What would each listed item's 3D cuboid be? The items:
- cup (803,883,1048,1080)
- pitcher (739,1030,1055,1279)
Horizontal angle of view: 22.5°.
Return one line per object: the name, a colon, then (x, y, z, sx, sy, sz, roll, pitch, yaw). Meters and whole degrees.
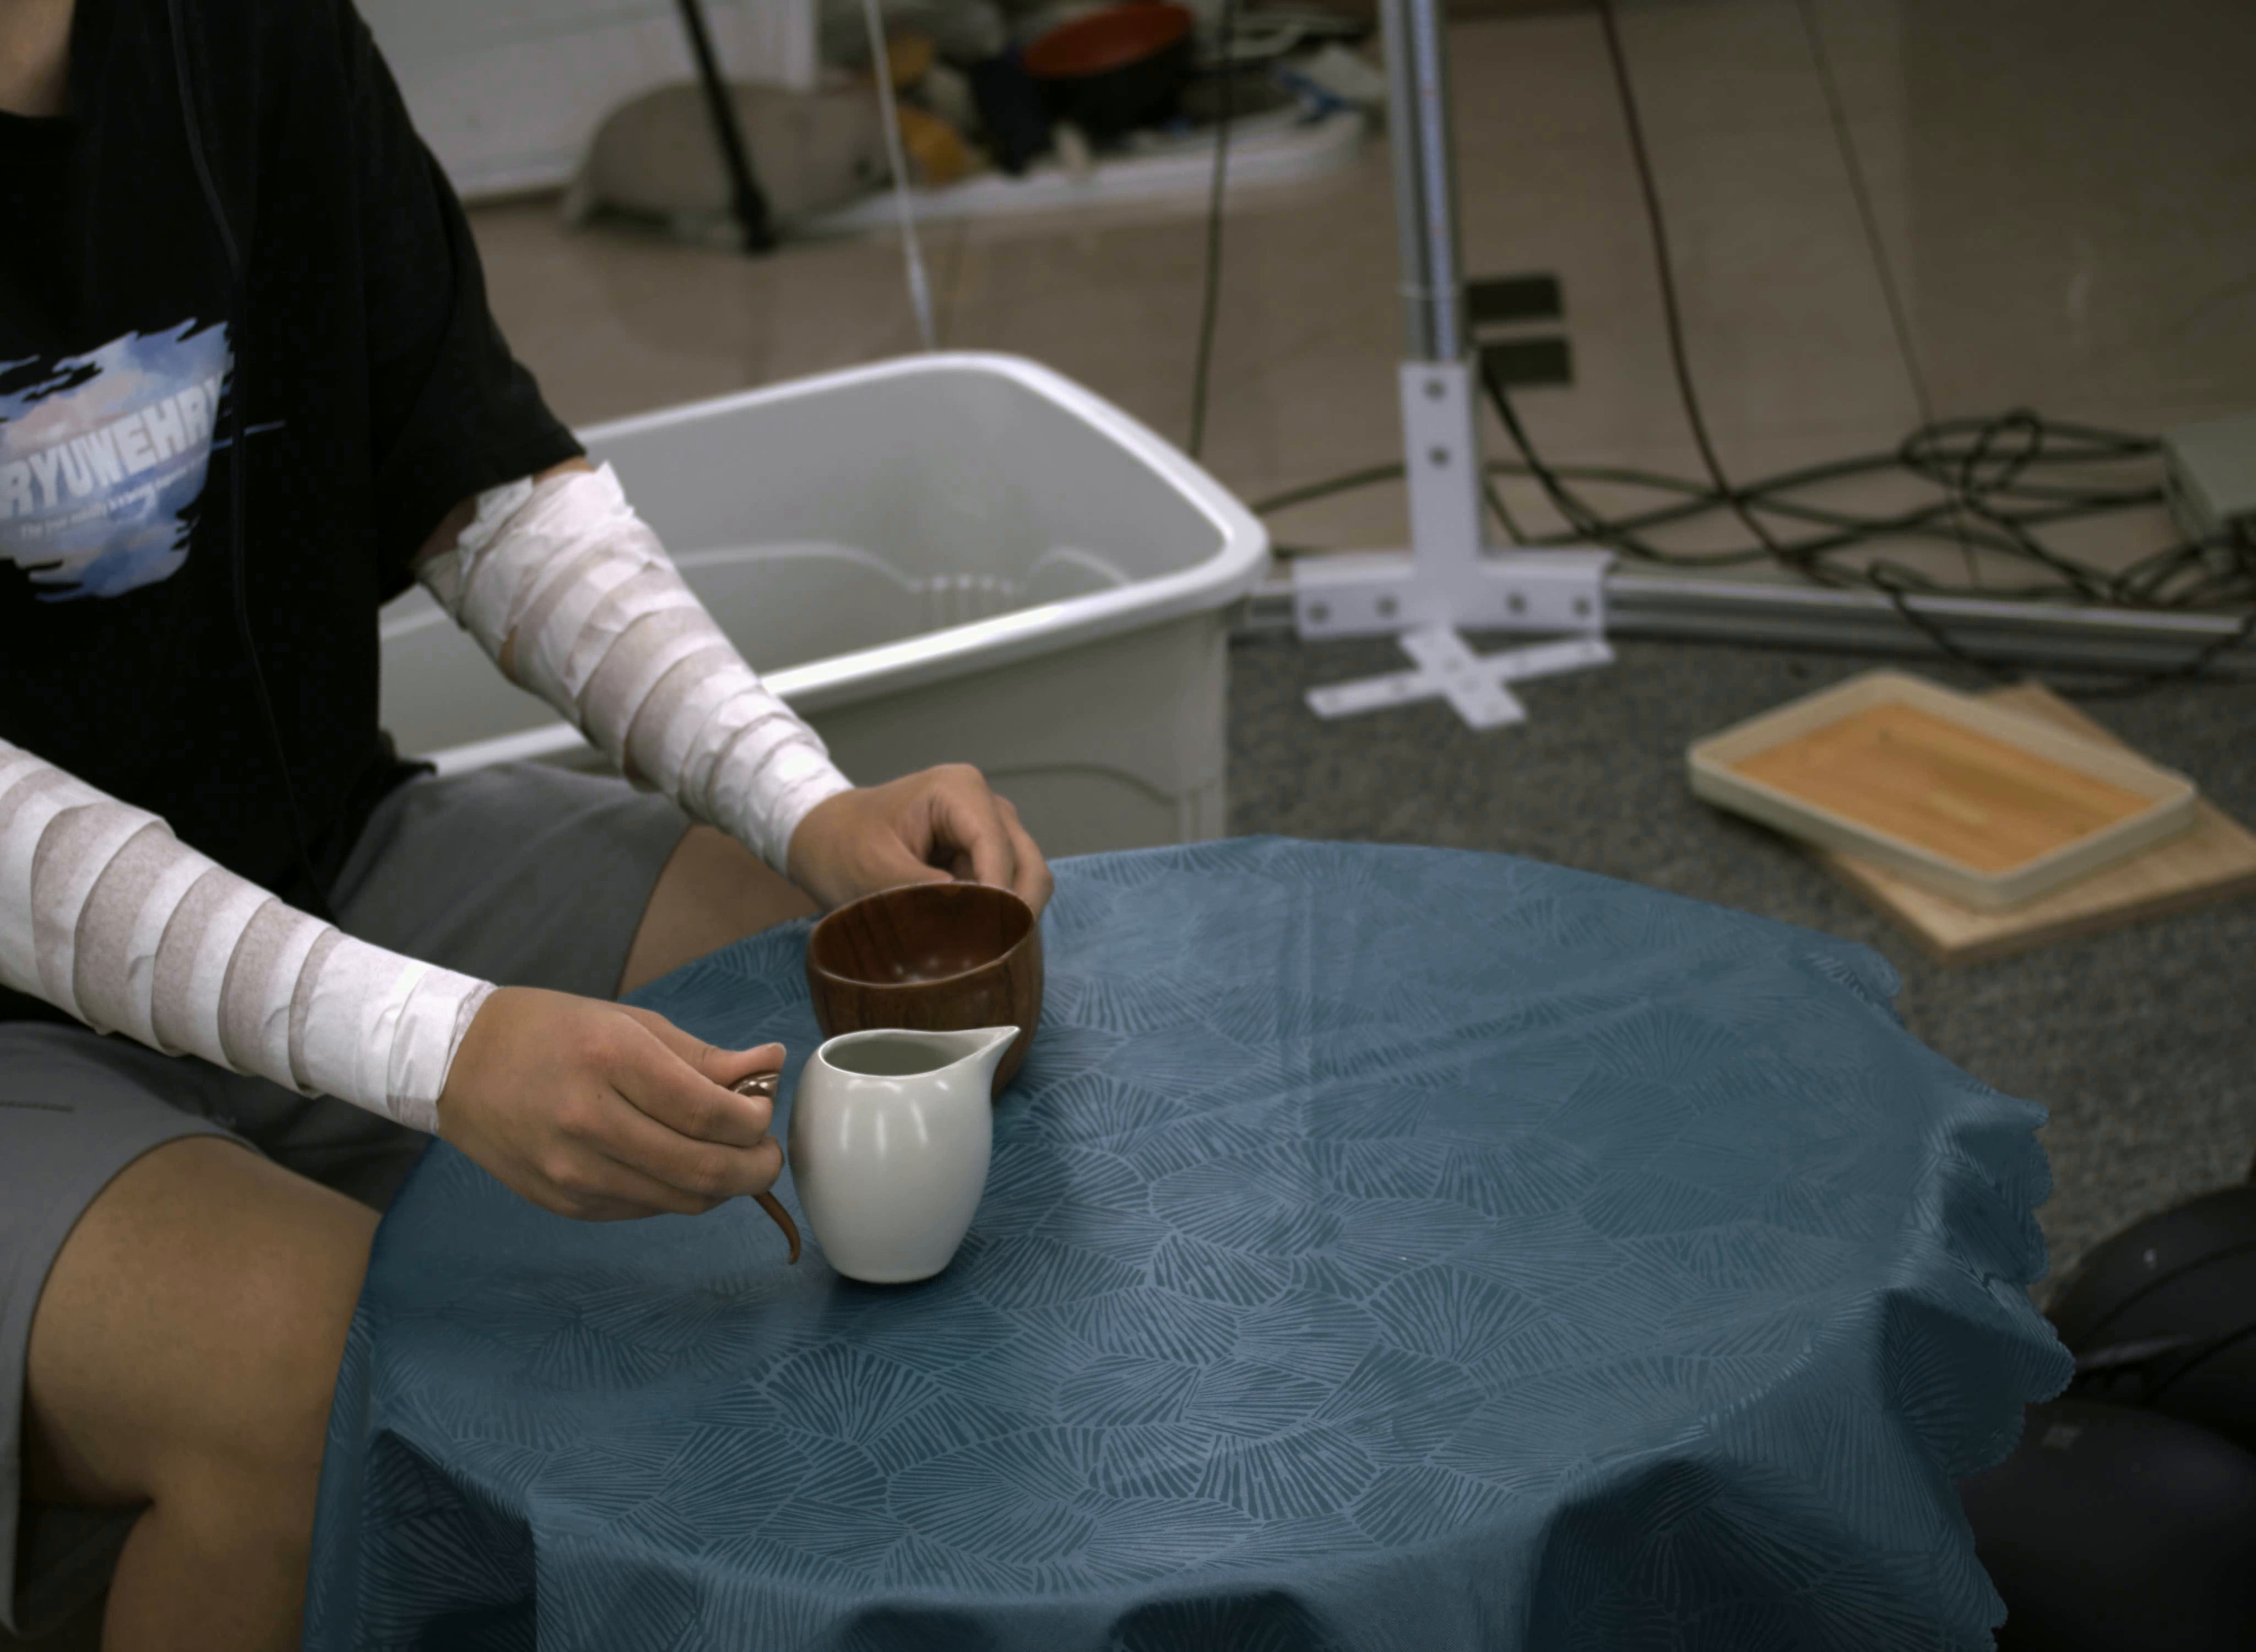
cup: (-0.074, 0.066, 2.247, 0.096, 0.069, 0.118, -4, 23, 15)
pitcher: (-0.087, 0.120, 2.096, 0.119, 0.089, 0.075, 1, 14, -16)
